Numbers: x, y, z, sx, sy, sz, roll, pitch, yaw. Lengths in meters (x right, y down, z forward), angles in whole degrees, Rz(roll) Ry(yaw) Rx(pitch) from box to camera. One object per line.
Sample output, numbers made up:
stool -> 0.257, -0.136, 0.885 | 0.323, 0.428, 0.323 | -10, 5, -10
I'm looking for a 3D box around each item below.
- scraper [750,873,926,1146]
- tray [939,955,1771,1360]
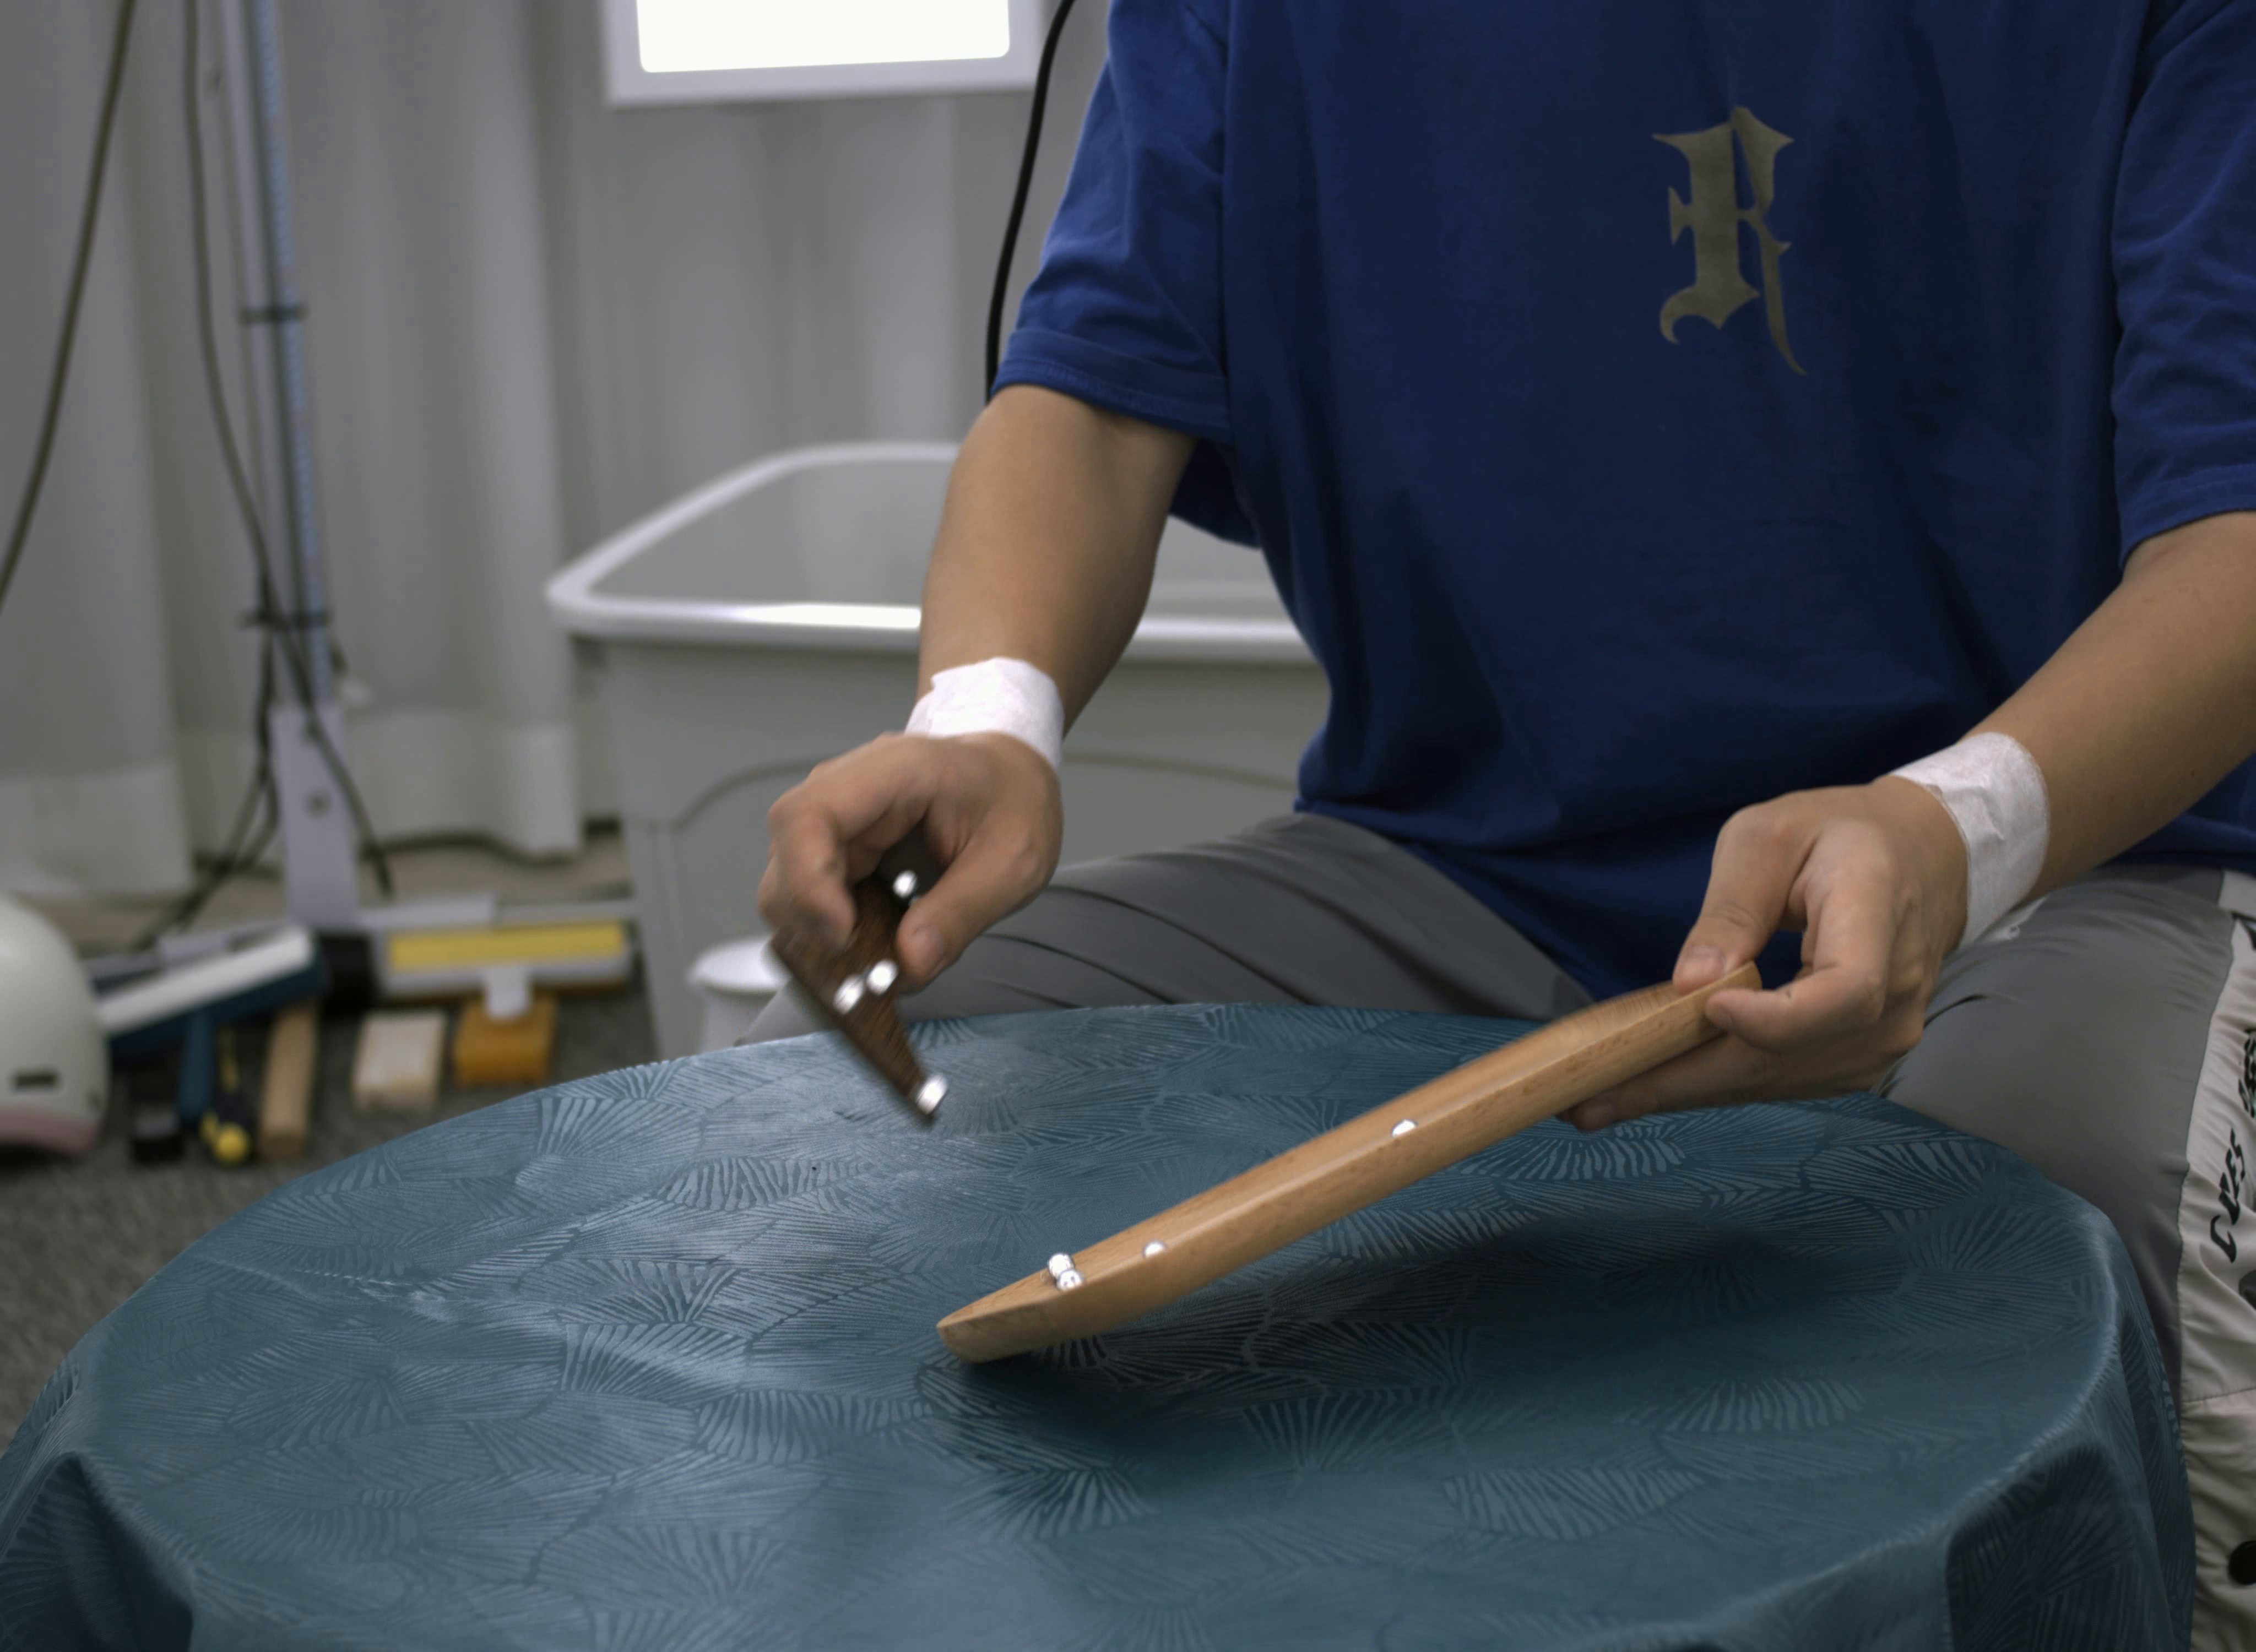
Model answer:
scraper -> -0.083, 0.048, 1.706 | 0.011, 0.075, 0.212 | -41, 8, 10
tray -> 0.067, 0.096, 1.578 | 0.250, 0.023, 0.130 | -22, 0, -25
